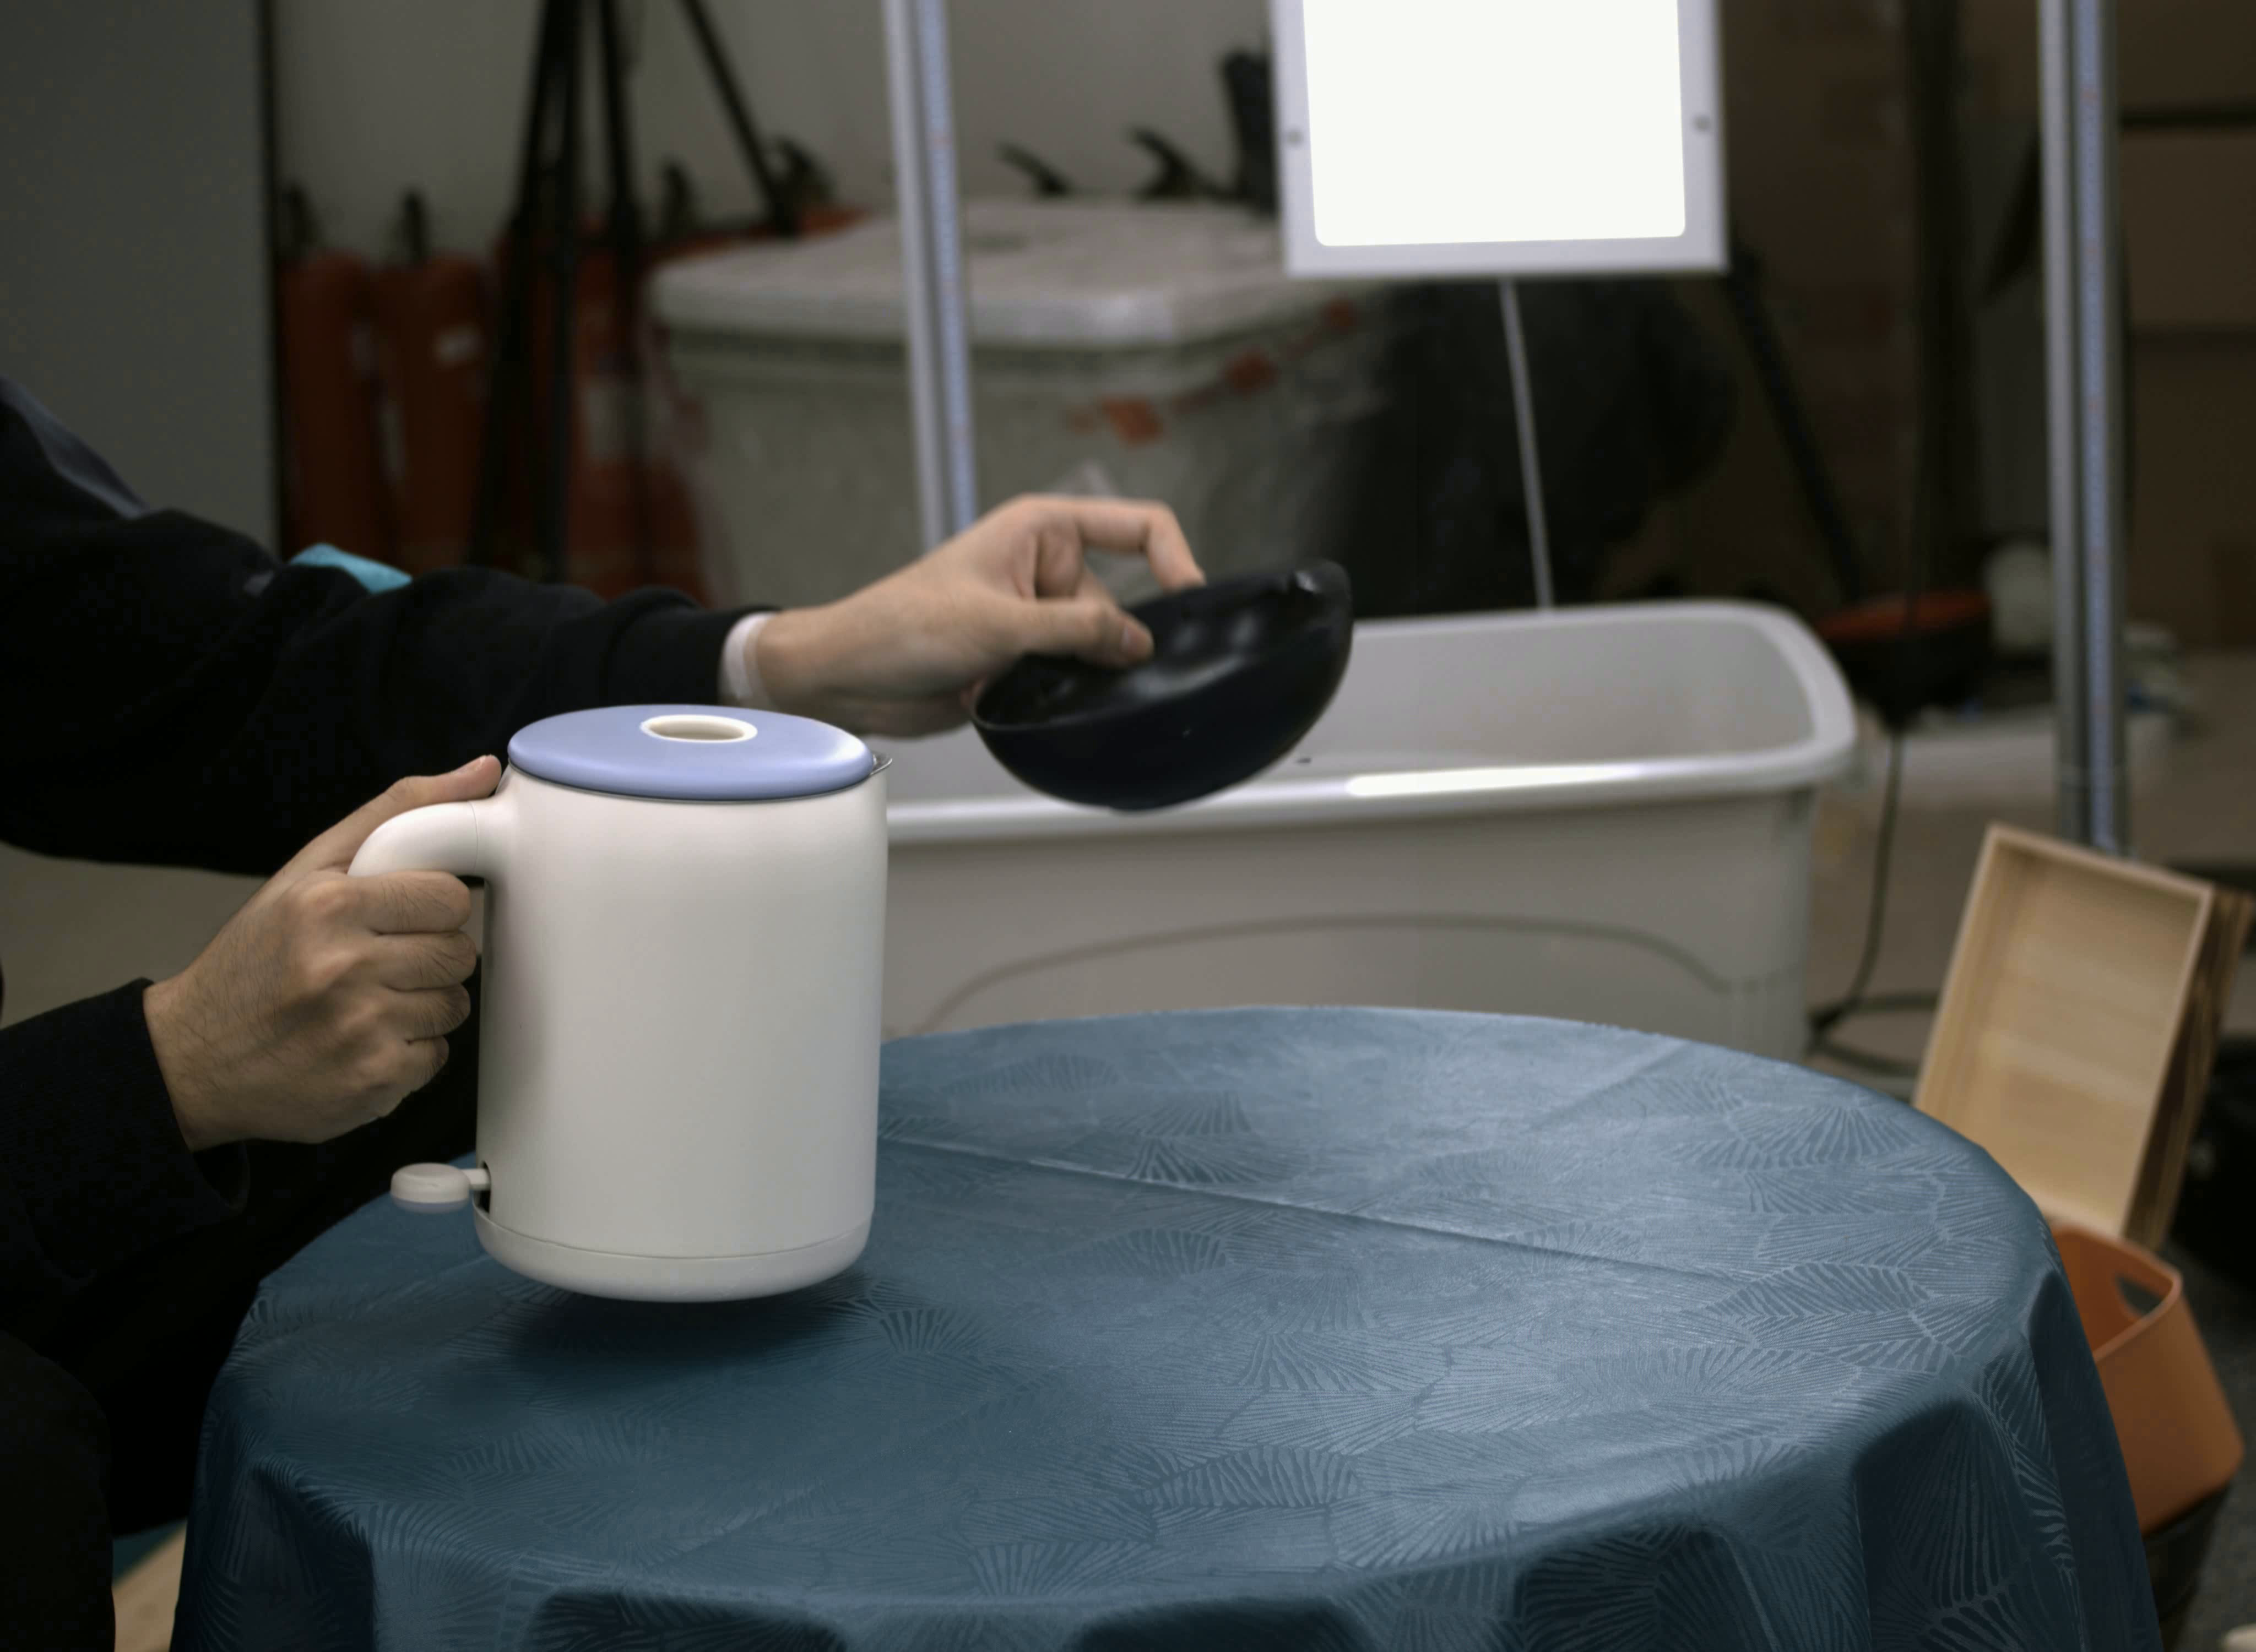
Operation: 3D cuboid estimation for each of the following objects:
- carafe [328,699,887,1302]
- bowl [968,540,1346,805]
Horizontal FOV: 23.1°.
[{"bbox_3d":[-0.167,0.057,1.783,0.187,0.183,0.134,-5,13,-21],"label":"carafe"},{"bbox_3d":[0.018,-0.045,1.887,0.140,0.049,0.140,-25,15,6],"label":"bowl"}]
